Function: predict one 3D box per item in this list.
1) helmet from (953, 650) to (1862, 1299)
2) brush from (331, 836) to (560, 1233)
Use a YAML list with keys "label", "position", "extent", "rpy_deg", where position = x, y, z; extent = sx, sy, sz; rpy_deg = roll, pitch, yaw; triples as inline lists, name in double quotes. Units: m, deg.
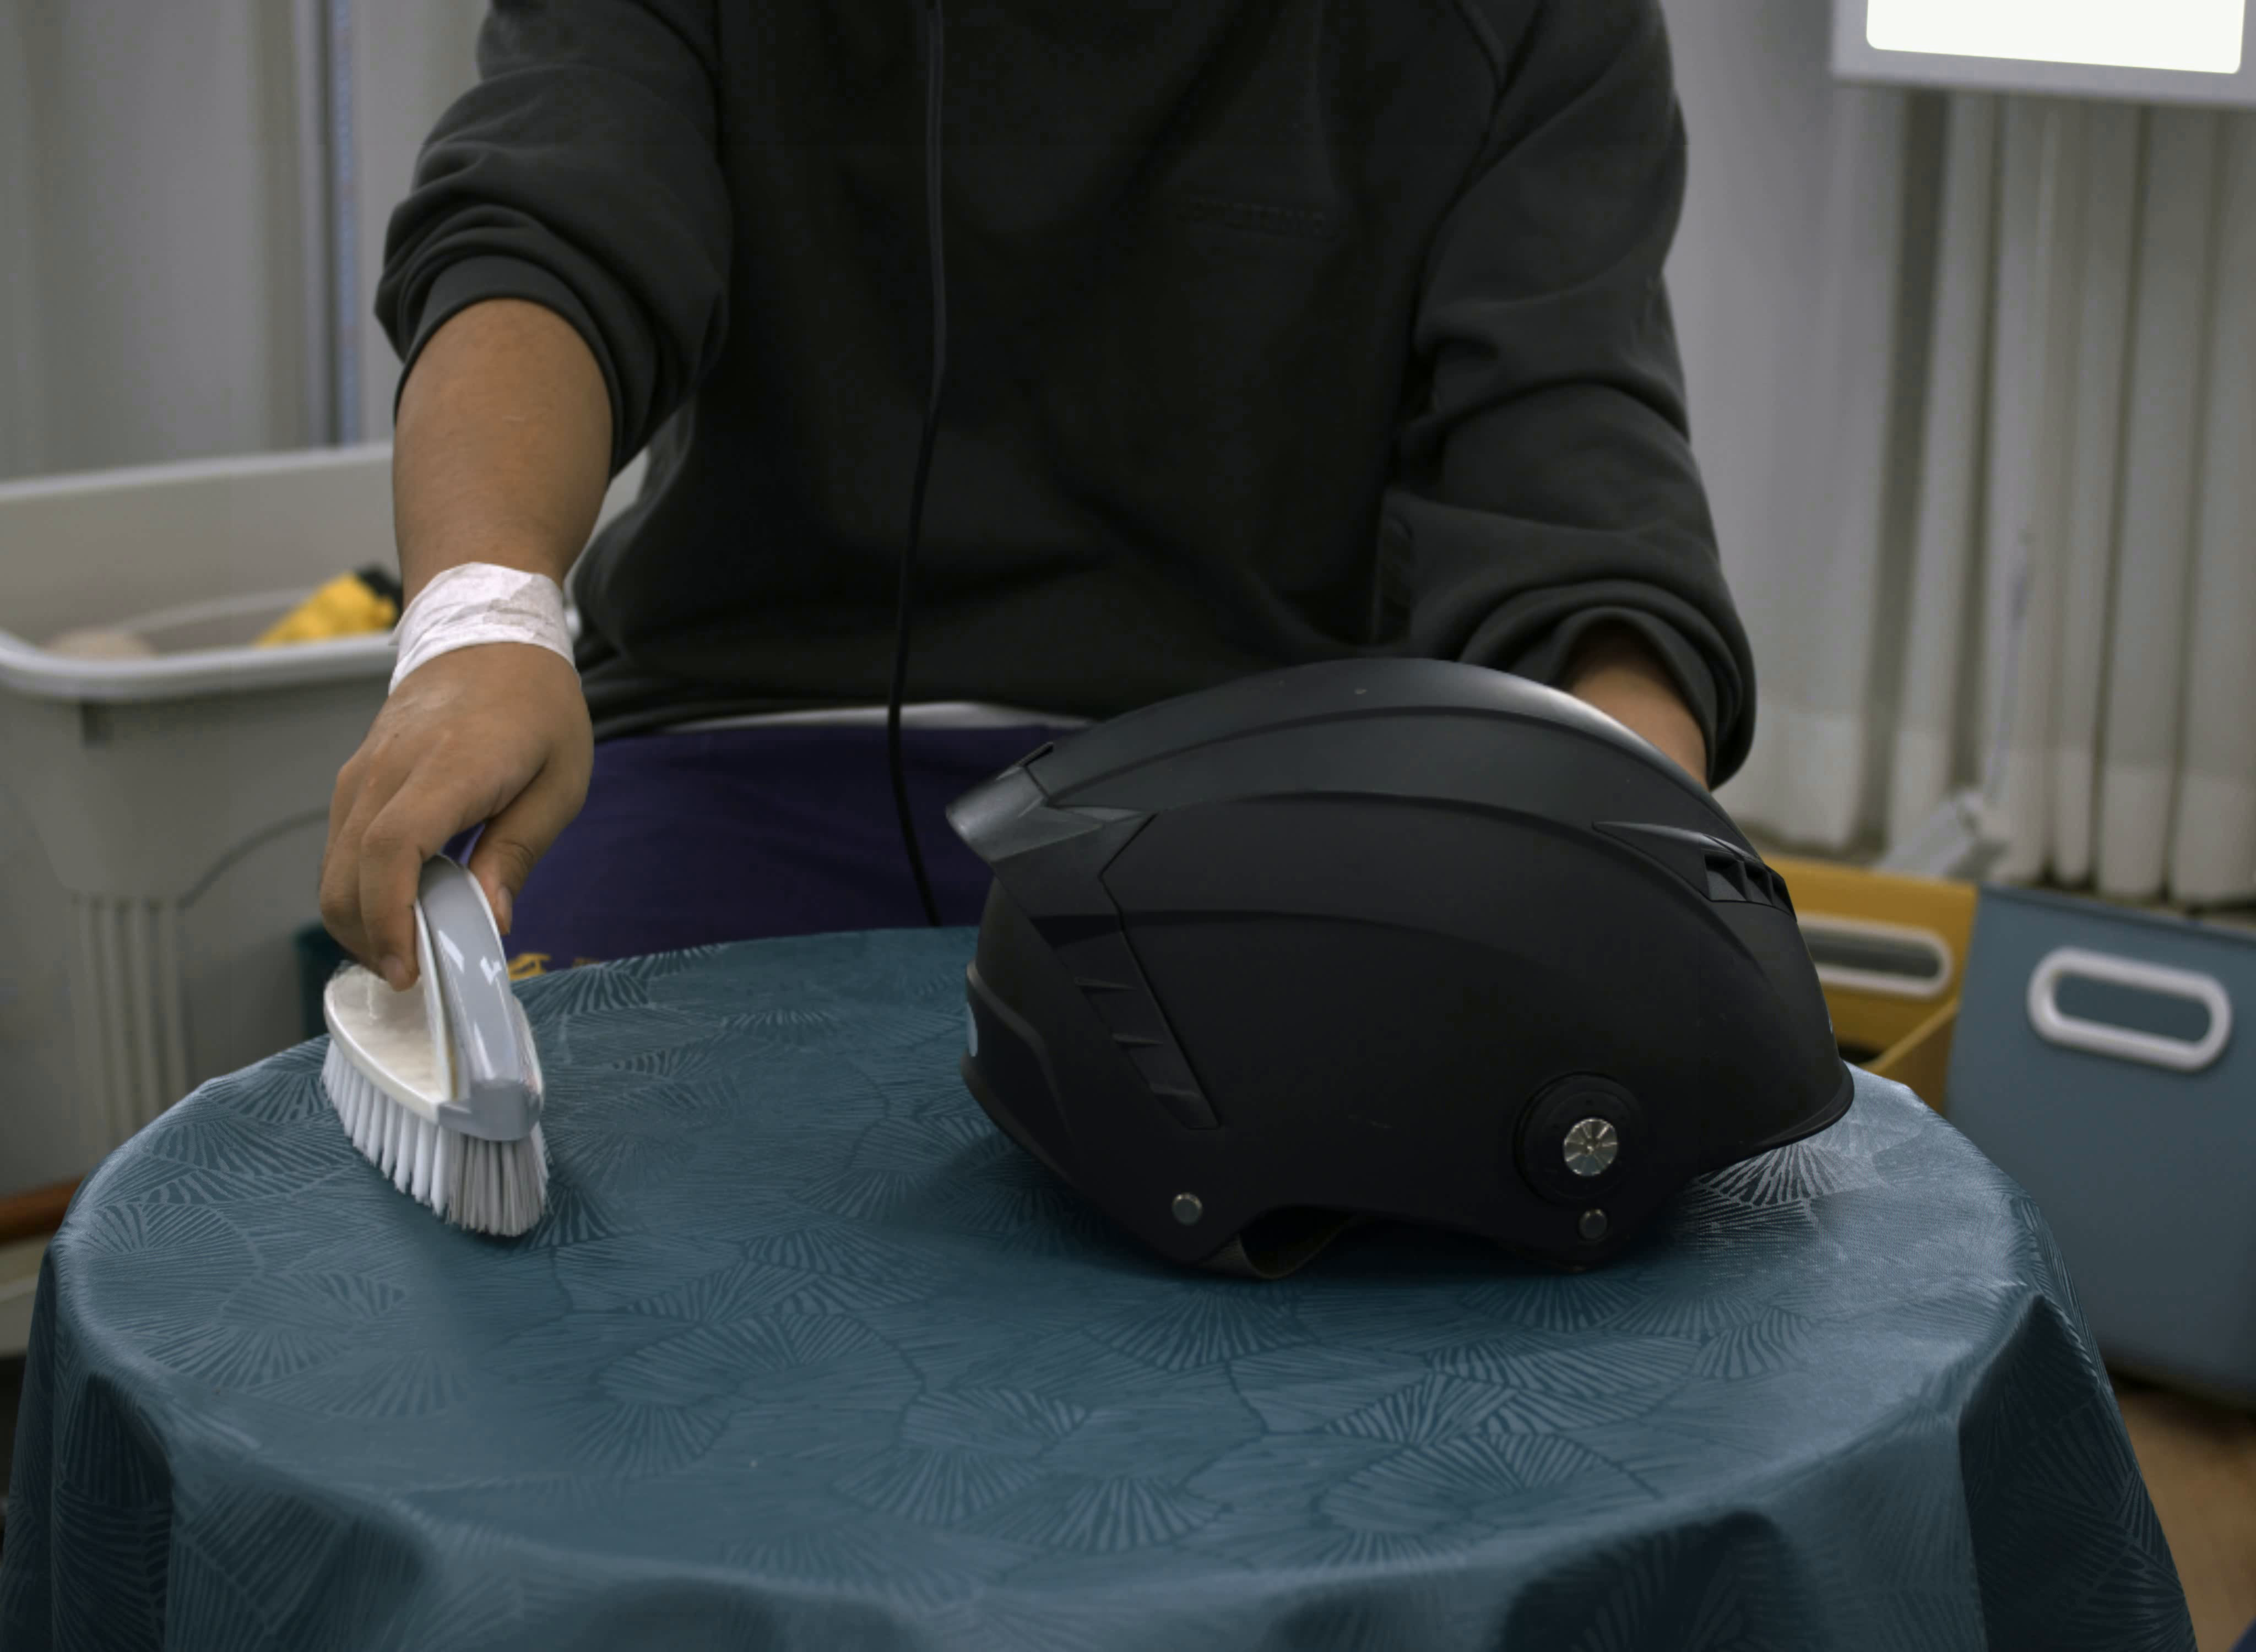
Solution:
- label: "helmet"
  position: [0.082, 0.031, 1.620]
  extent: [0.276, 0.174, 0.244]
  rpy_deg: [-7, 18, -9]
- label: "brush"
  position: [-0.208, 0.059, 1.635]
  extent: [0.061, 0.095, 0.173]
  rpy_deg: [-6, 19, -17]
